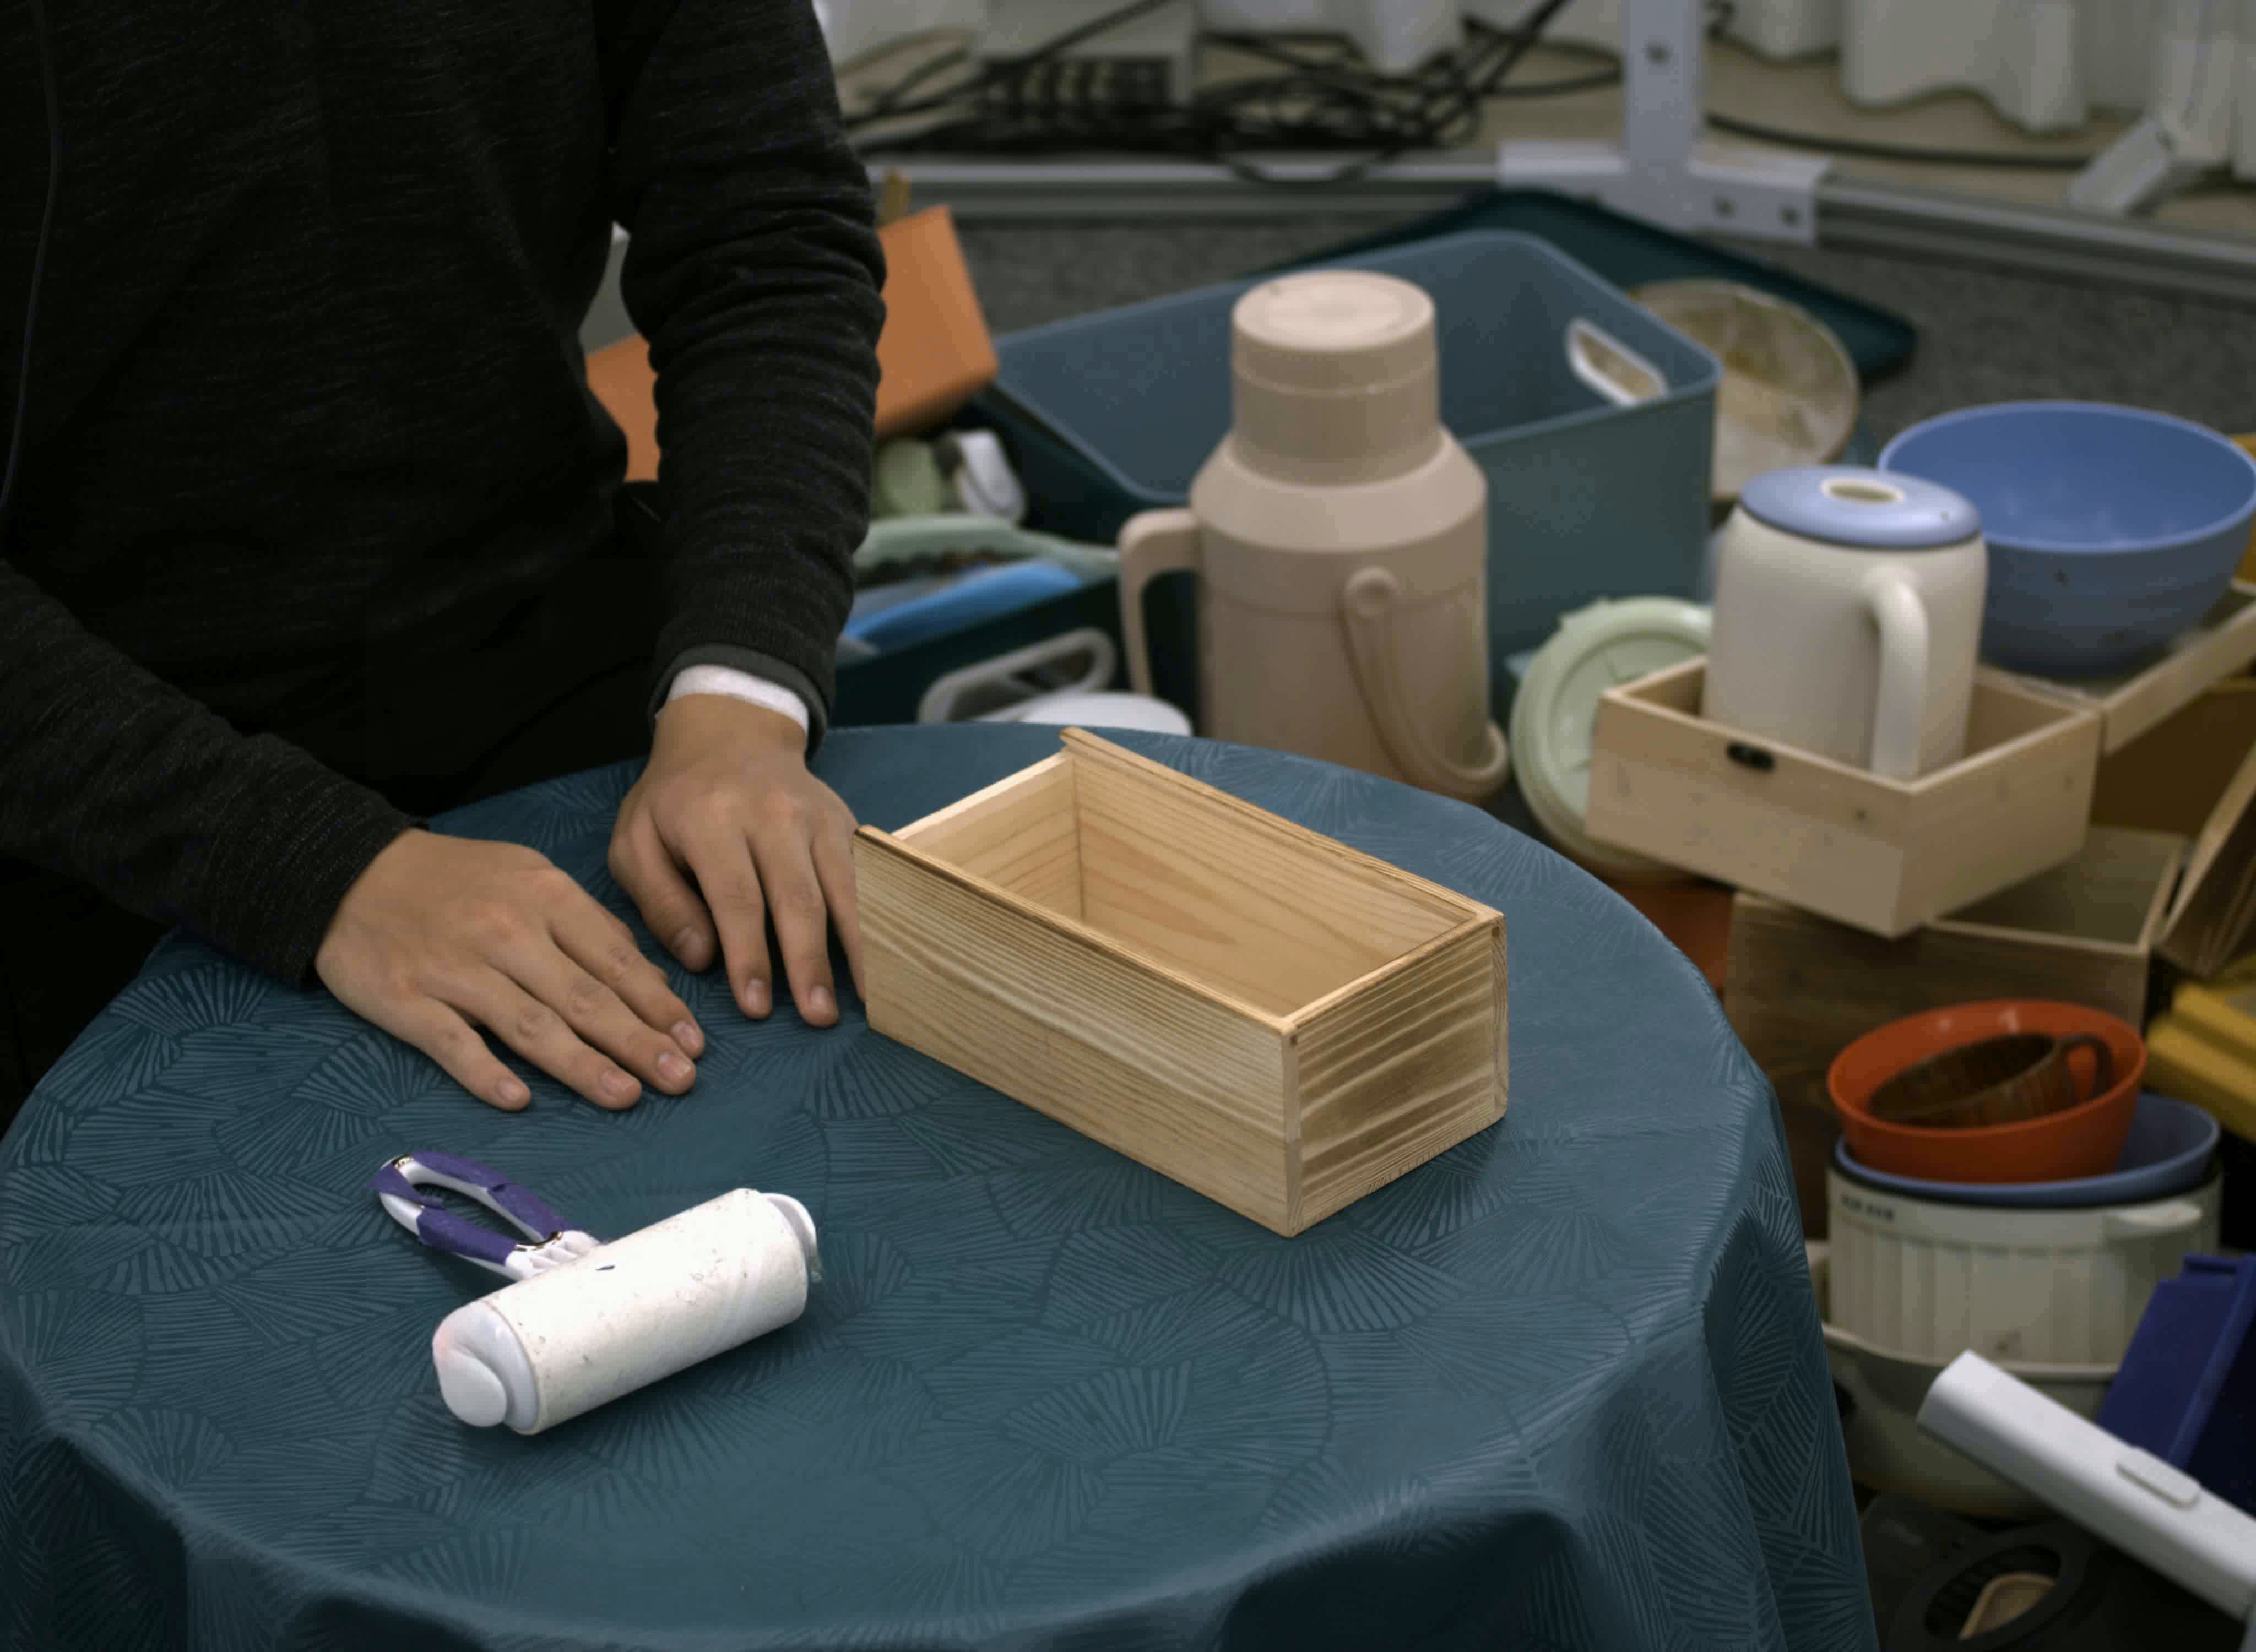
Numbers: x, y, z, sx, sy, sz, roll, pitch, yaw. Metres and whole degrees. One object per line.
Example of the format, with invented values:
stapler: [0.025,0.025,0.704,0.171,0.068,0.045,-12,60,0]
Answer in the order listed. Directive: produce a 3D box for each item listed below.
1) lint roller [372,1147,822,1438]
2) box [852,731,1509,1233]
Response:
lint roller: [-0.193,0.129,1.815,0.134,0.049,0.181,-21,34,-29]
box: [0.017,0.050,1.912,0.109,0.079,0.211,-26,34,-37]
